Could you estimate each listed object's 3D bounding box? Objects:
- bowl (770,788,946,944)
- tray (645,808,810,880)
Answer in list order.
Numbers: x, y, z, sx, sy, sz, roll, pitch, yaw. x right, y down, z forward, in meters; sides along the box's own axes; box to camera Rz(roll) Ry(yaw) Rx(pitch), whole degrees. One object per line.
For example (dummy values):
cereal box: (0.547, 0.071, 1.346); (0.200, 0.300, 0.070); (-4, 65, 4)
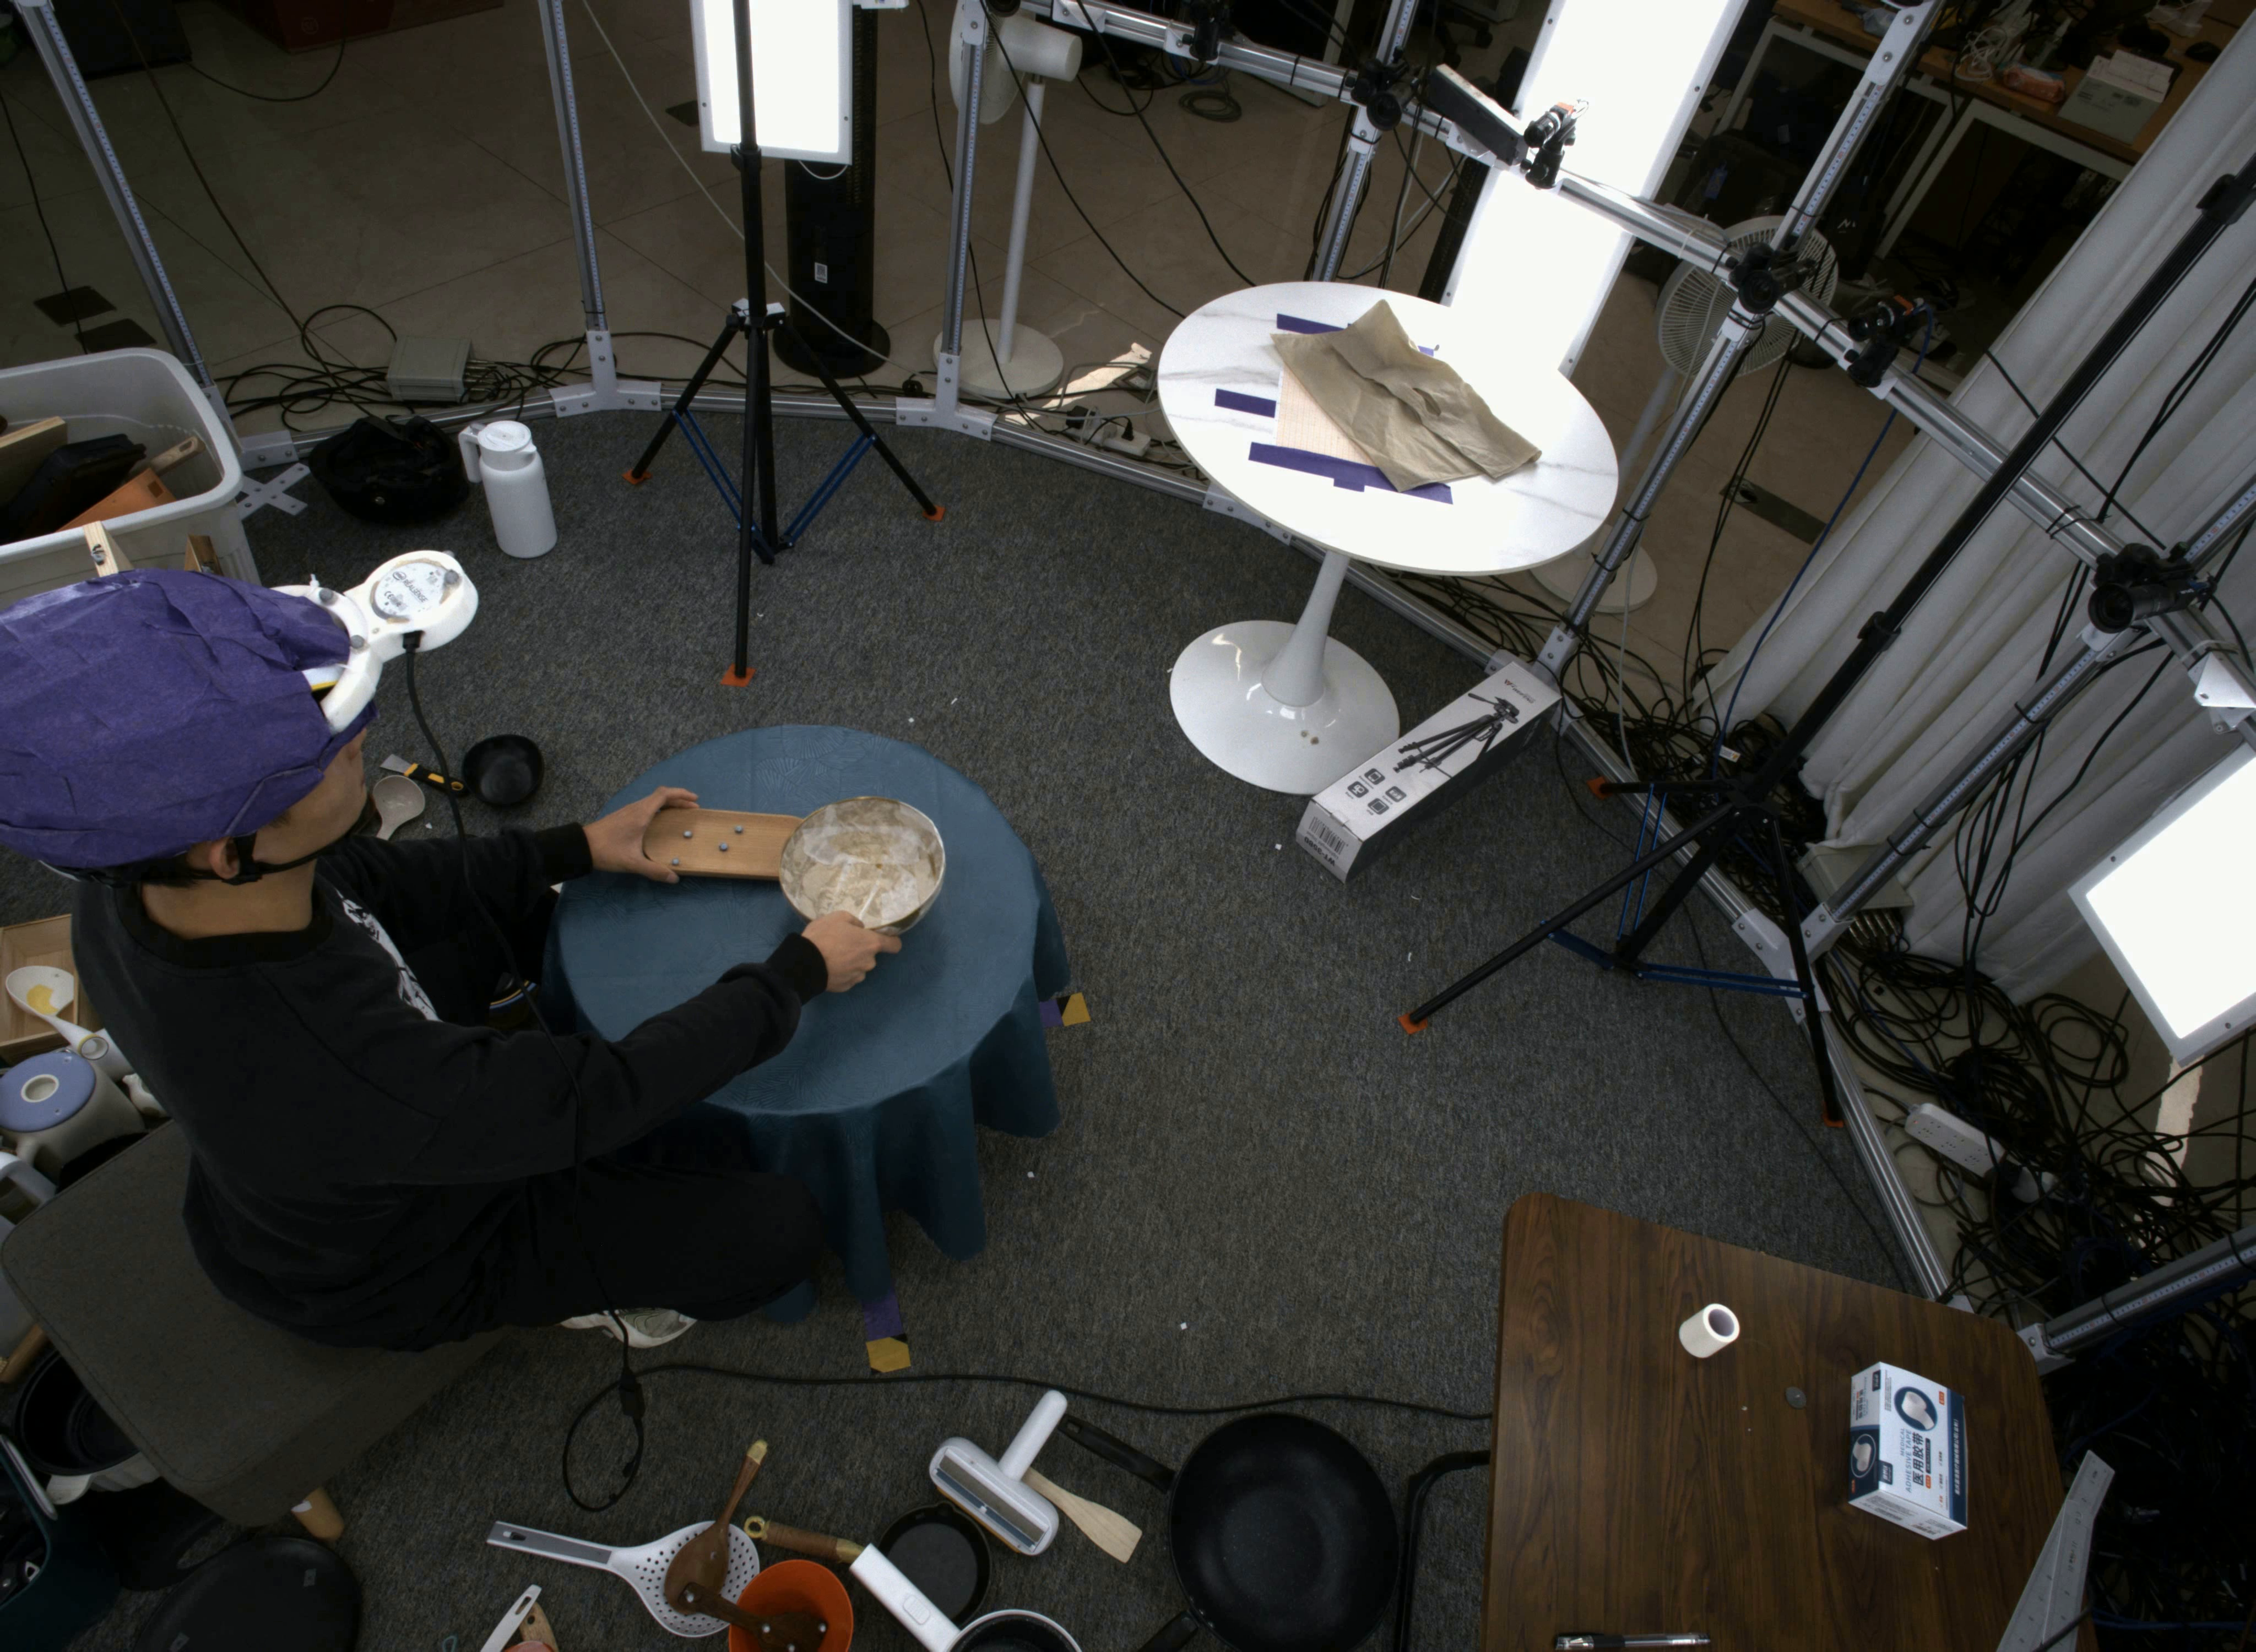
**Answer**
bowl: (-0.330, 0.066, 1.617); (0.213, 0.097, 0.211); (3, 55, -3)
tray: (-0.503, 0.023, 1.664); (0.233, 0.020, 0.099); (4, 54, -23)
